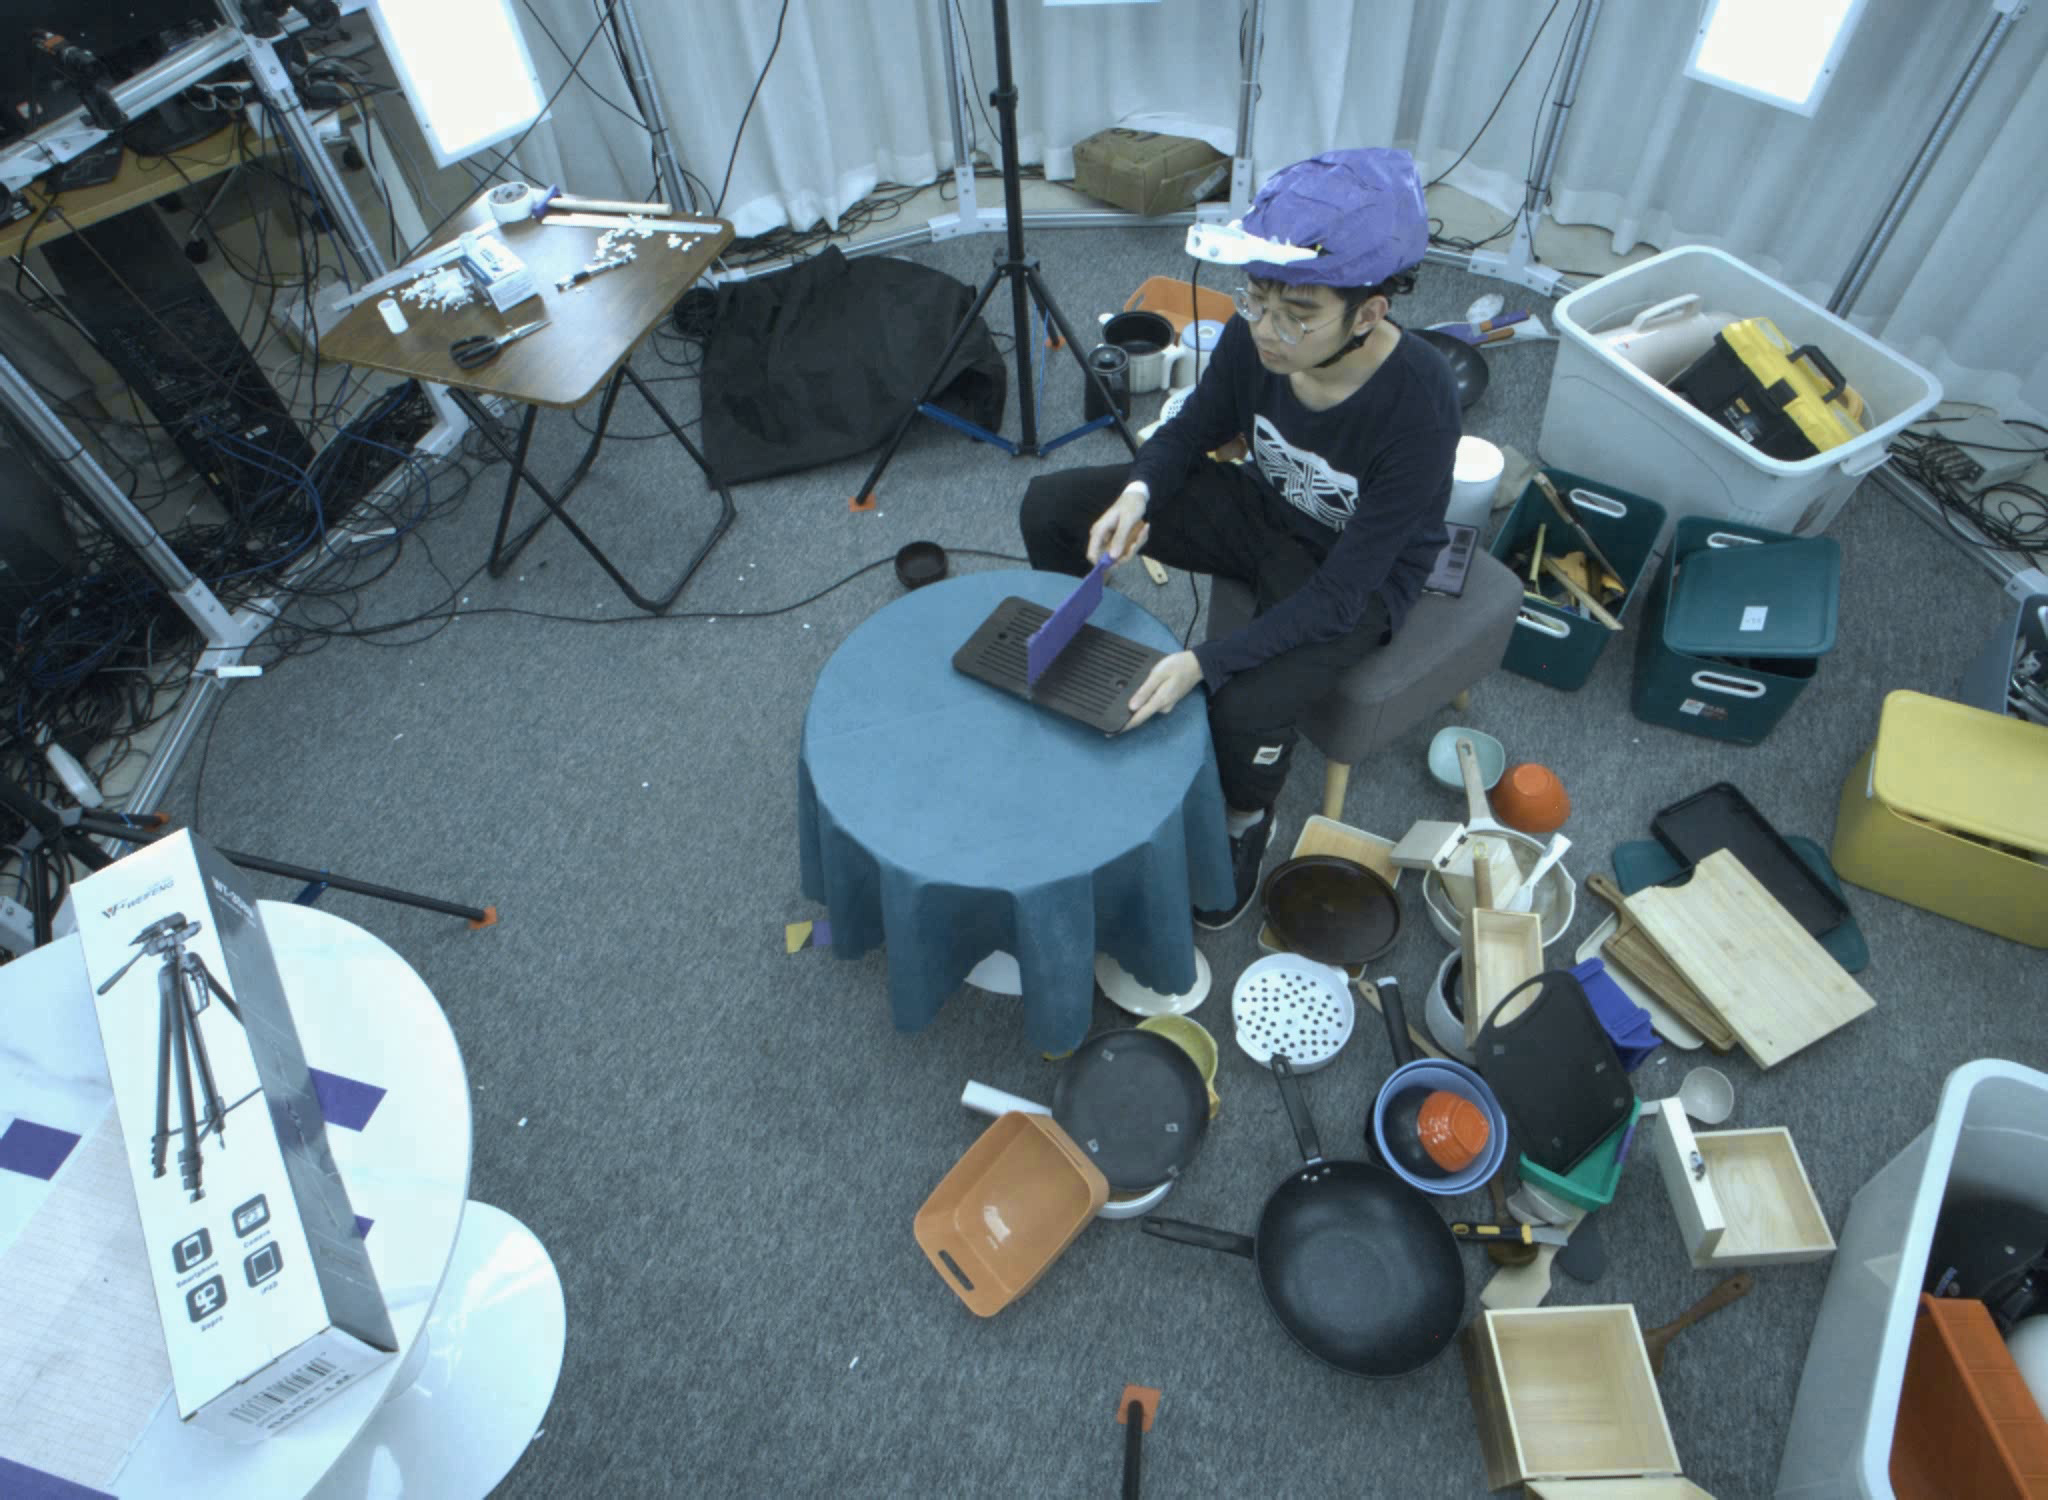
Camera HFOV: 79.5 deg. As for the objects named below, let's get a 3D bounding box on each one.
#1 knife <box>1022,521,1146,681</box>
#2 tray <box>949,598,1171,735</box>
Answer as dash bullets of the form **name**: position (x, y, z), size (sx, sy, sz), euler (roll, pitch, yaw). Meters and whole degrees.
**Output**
- **knife**: position (0.088, -0.228, 1.861), size (0.032, 0.105, 0.317), euler (30, 59, 19)
- **tray**: position (0.052, -0.129, 1.859), size (0.300, 0.019, 0.171), euler (24, 58, 24)
